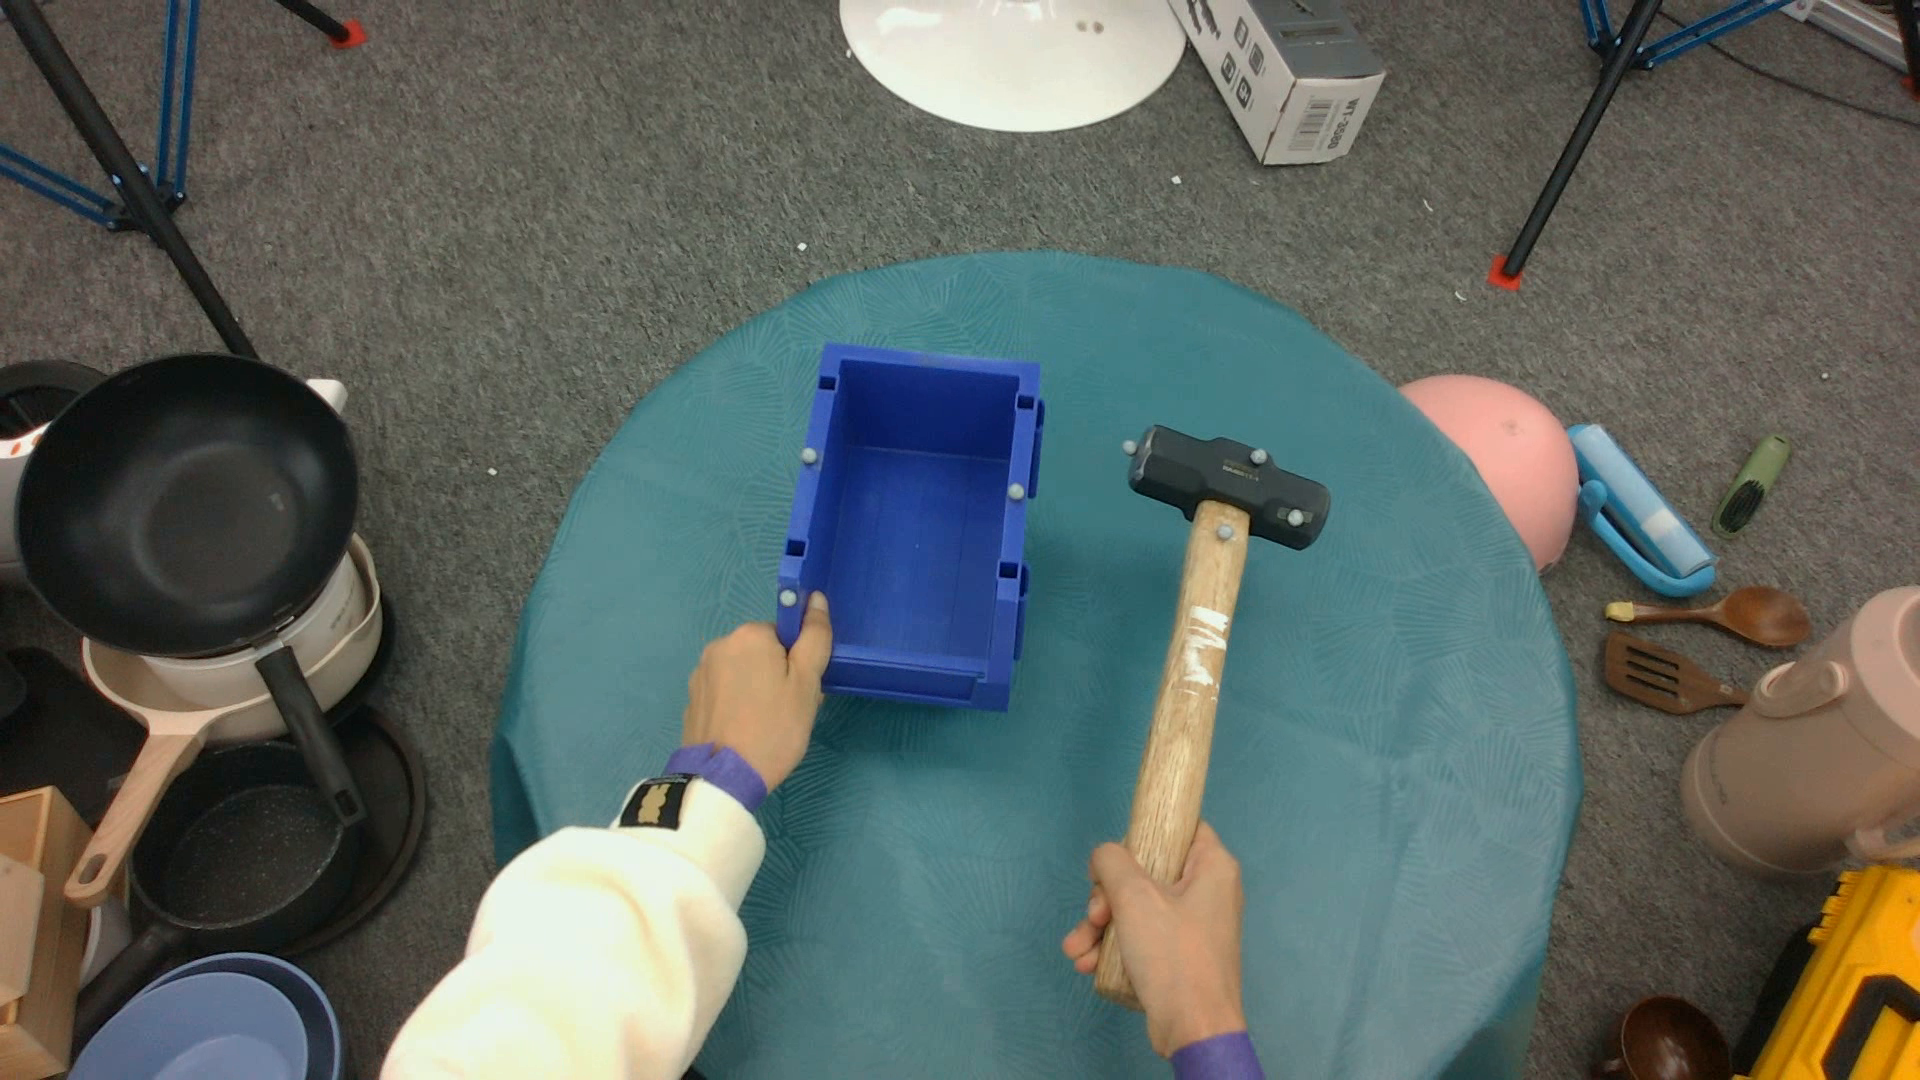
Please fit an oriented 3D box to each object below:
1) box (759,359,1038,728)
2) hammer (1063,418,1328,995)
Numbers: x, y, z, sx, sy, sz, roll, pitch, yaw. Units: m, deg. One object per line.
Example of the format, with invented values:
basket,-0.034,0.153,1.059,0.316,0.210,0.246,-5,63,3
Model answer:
box,-0.029,0.003,0.733,0.124,0.081,0.180,7,55,1
hammer,0.107,0.074,0.686,0.107,0.038,0.306,22,57,-1
